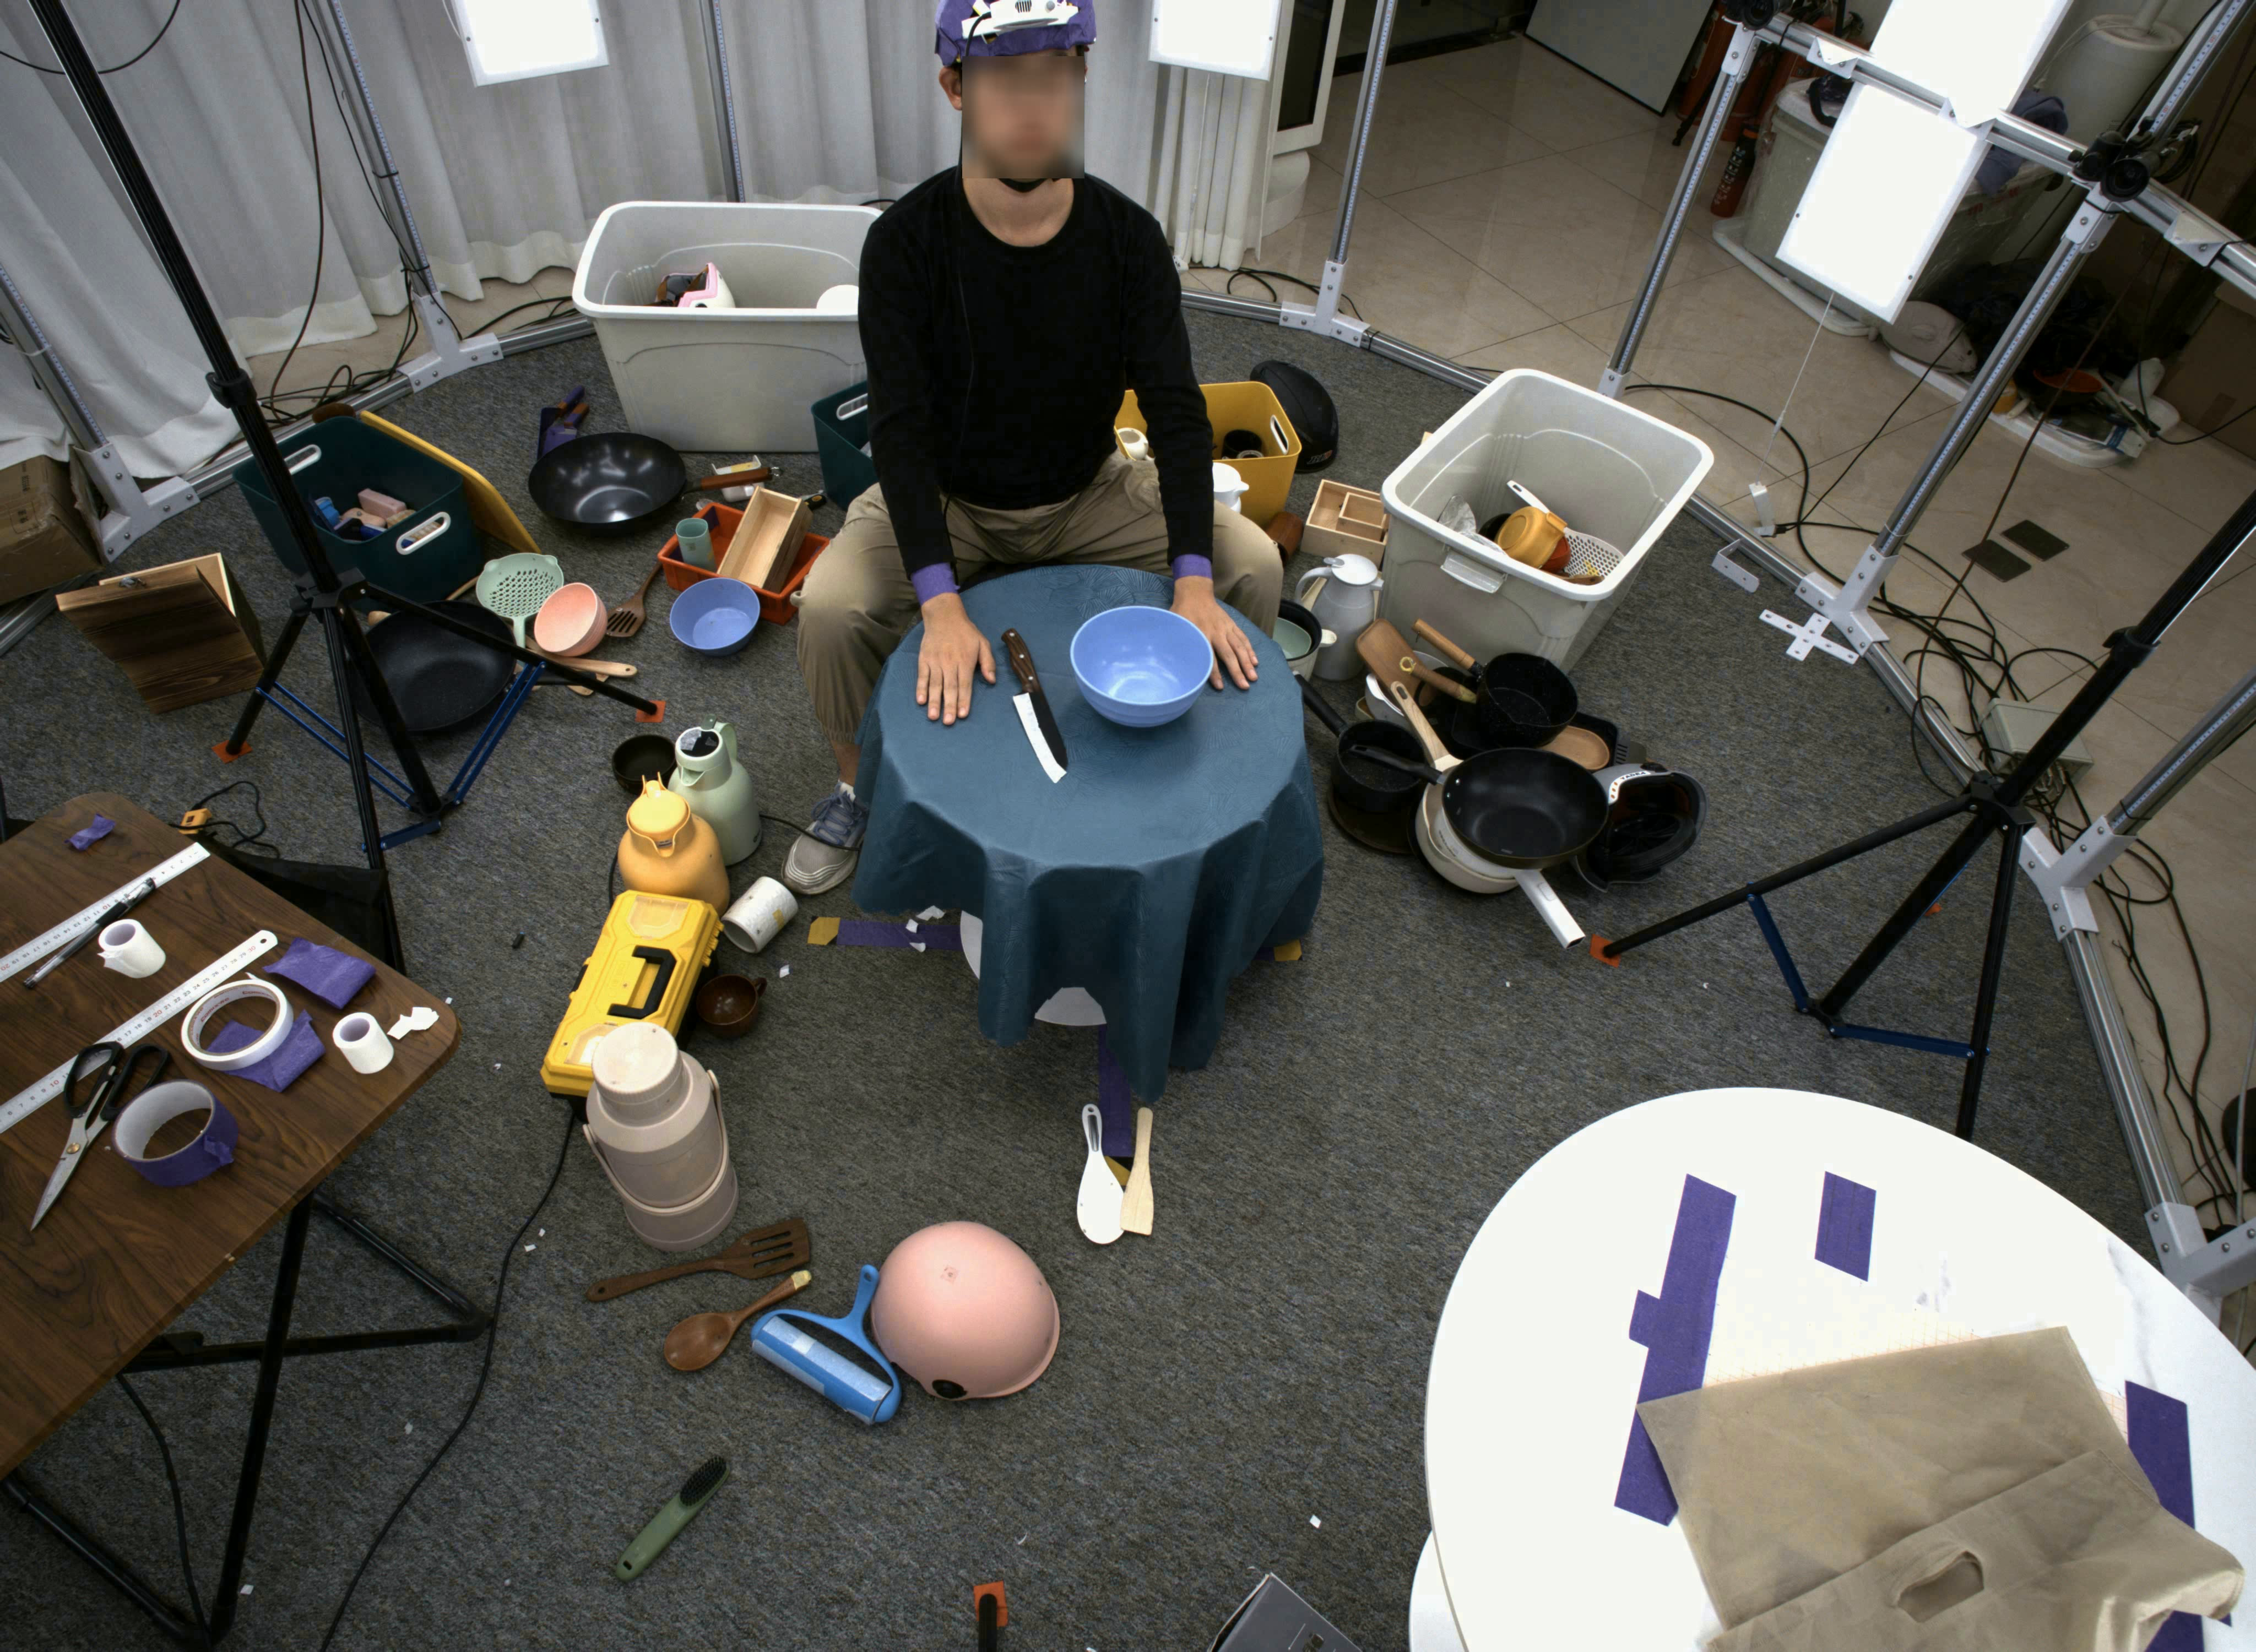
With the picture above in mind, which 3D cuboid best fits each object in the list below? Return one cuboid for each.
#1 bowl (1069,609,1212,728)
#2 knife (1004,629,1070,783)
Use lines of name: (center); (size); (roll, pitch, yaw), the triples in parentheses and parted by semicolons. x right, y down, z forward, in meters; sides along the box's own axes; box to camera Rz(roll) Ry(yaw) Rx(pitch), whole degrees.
bowl: (0.016, -0.205, 1.790); (0.196, 0.093, 0.201); (1, 48, -1)
knife: (-0.131, -0.171, 1.800); (0.050, 0.019, 0.296); (-13, 53, -8)
